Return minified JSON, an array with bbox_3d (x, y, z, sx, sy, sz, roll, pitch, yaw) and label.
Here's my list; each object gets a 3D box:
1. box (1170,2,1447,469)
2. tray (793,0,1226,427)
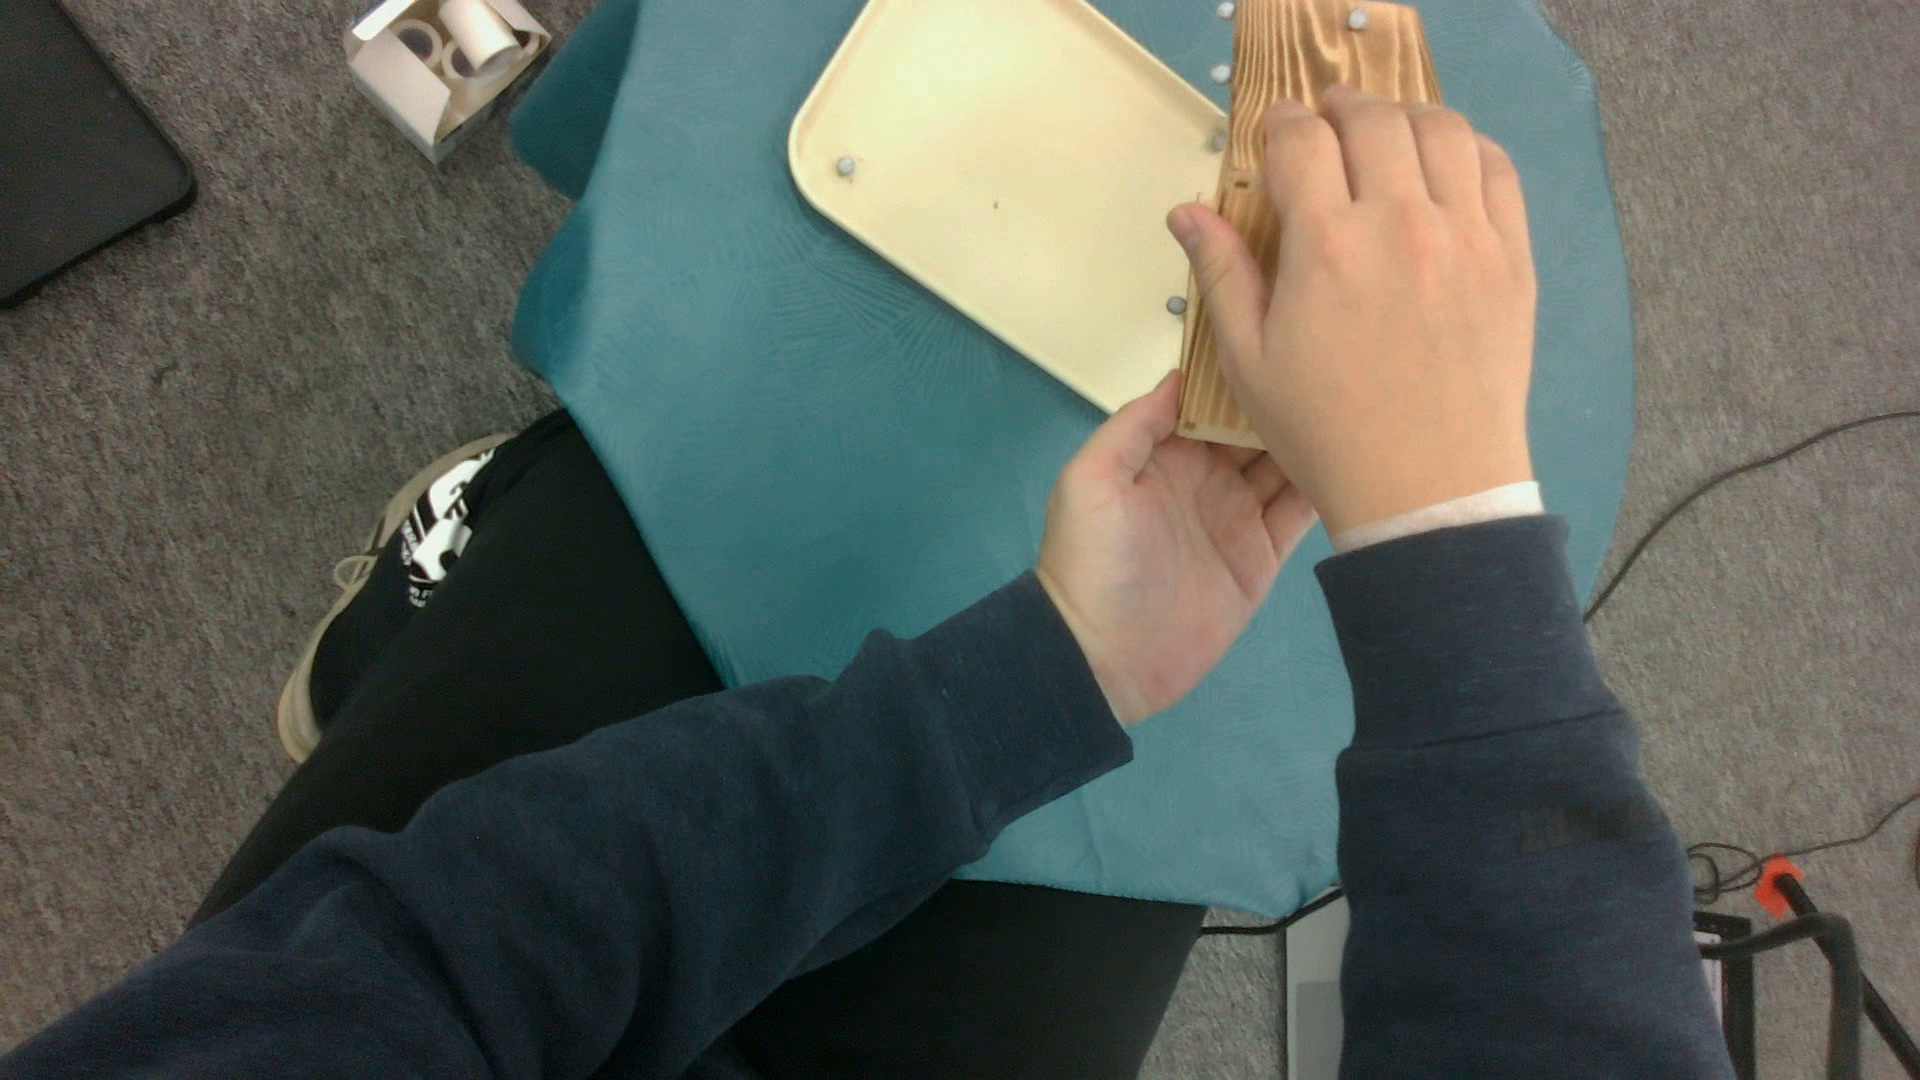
[{"bbox_3d":[0.140,-0.136,0.576,0.080,0.212,0.107,9,128,6],"label":"box"},{"bbox_3d":[0.045,-0.180,0.705,0.239,0.017,0.171,33,79,-15],"label":"tray"}]
